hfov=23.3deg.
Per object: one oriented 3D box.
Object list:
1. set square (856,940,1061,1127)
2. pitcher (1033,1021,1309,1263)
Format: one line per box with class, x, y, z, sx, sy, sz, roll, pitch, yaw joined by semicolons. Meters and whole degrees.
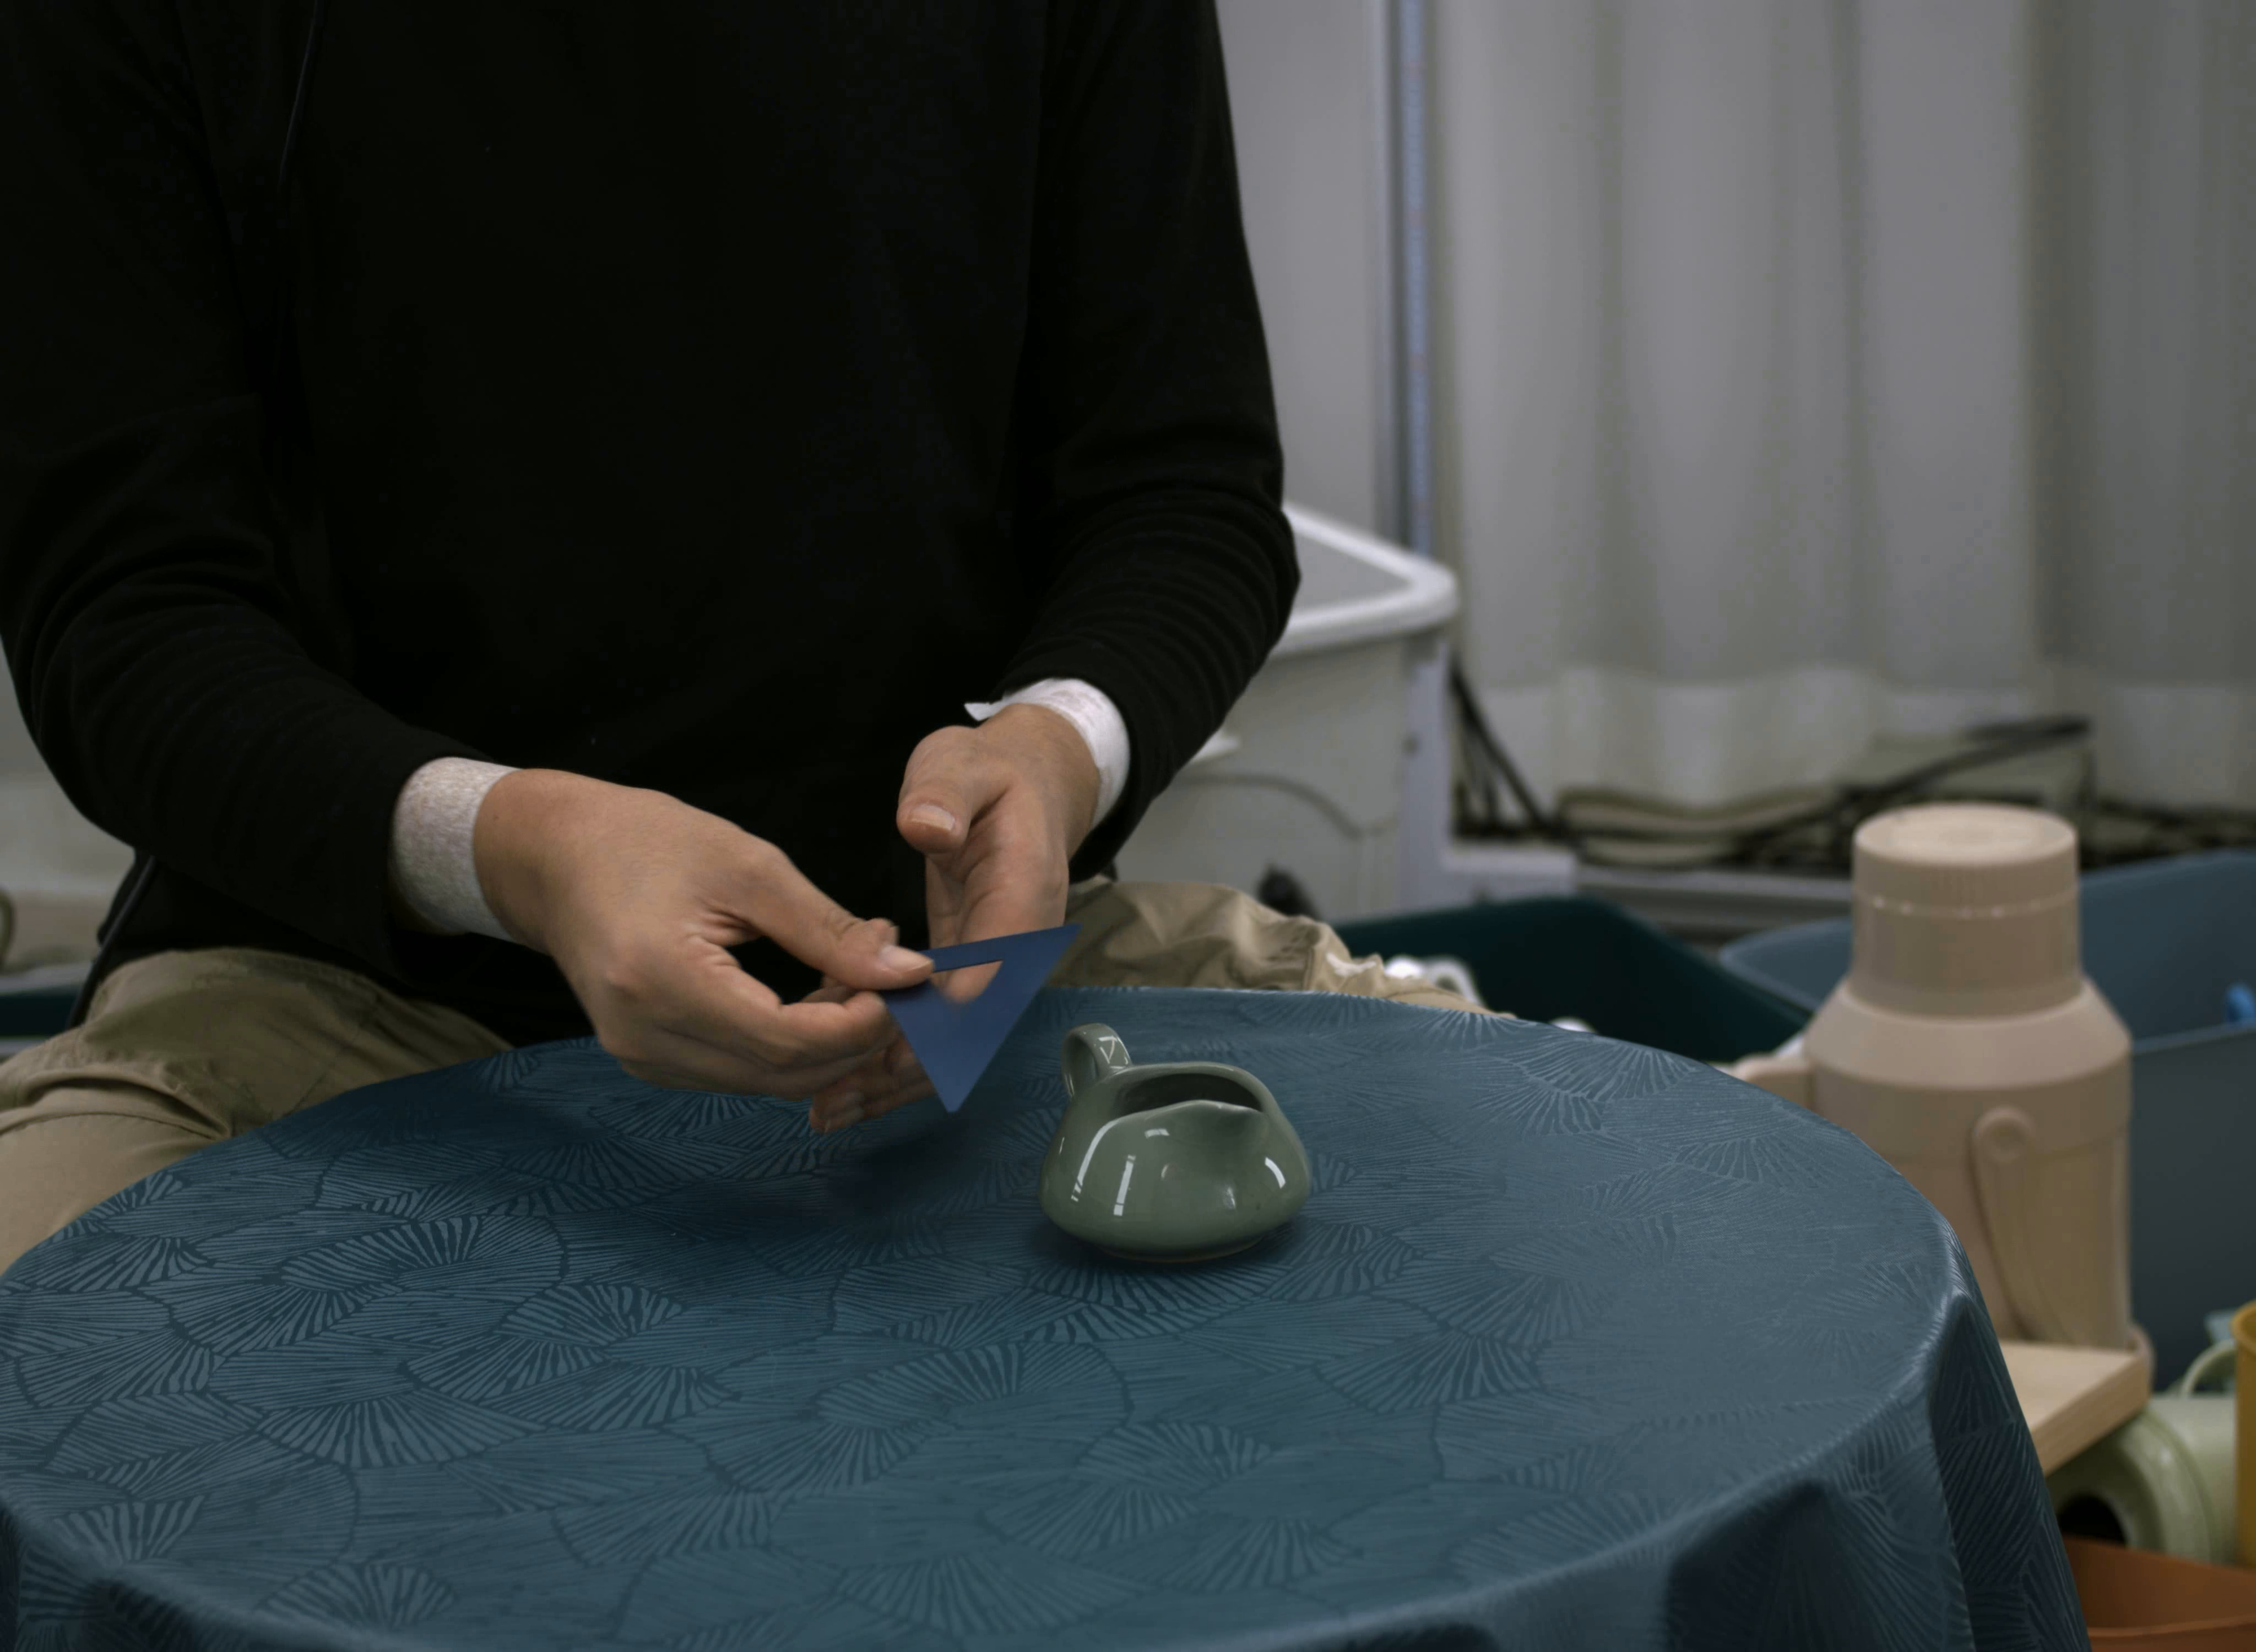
set square;-0.067;0.059;1.650;0.061;0.006;0.133;4;24;19
pitcher;0.010;0.097;1.670;0.084;0.056;0.113;-8;15;-29
